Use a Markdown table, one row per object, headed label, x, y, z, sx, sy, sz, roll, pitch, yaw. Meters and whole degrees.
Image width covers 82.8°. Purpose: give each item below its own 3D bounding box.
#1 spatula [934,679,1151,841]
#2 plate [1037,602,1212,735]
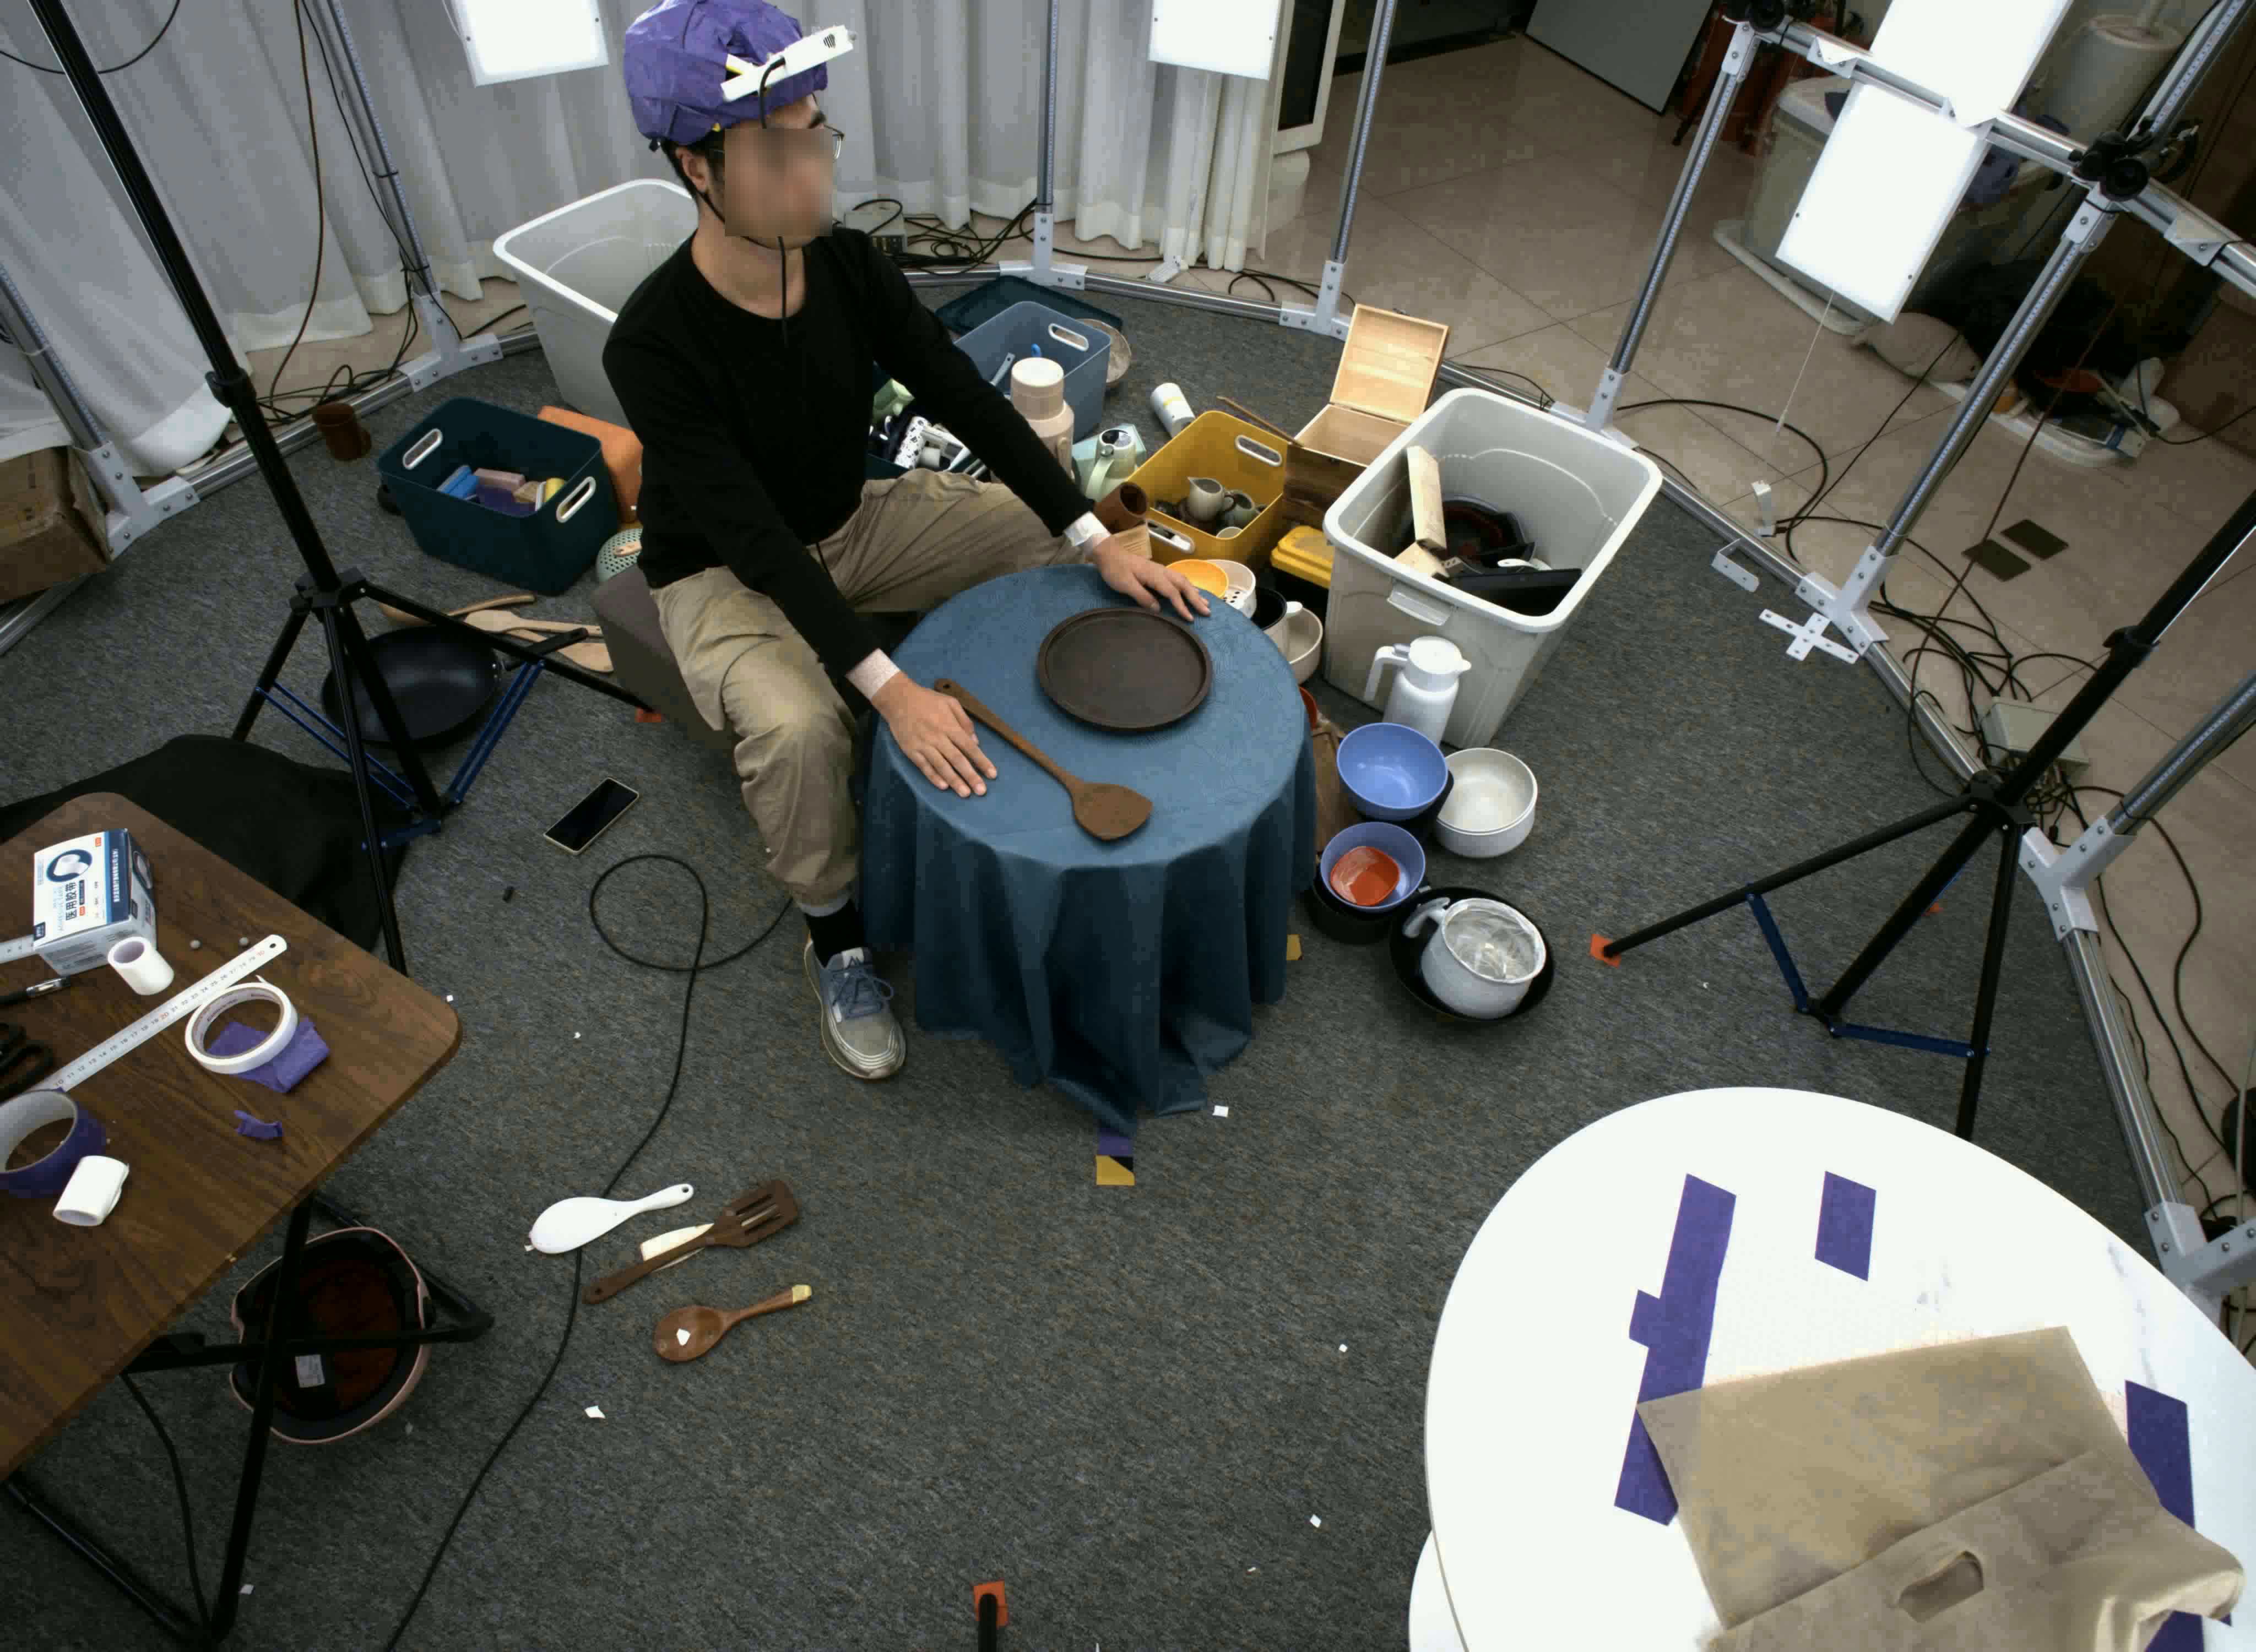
| label | x | y | z | sx | sy | sz | roll | pitch | yaw |
| --- | --- | --- | --- | --- | --- | --- | --- | --- | --- |
| spatula | -0.131 | -0.101 | 1.739 | 0.391 | 0.015 | 0.097 | 37 | 56 | 25 |
| plate | -0.005 | -0.226 | 1.851 | 0.254 | 0.028 | 0.261 | 2 | 51 | -2 |
